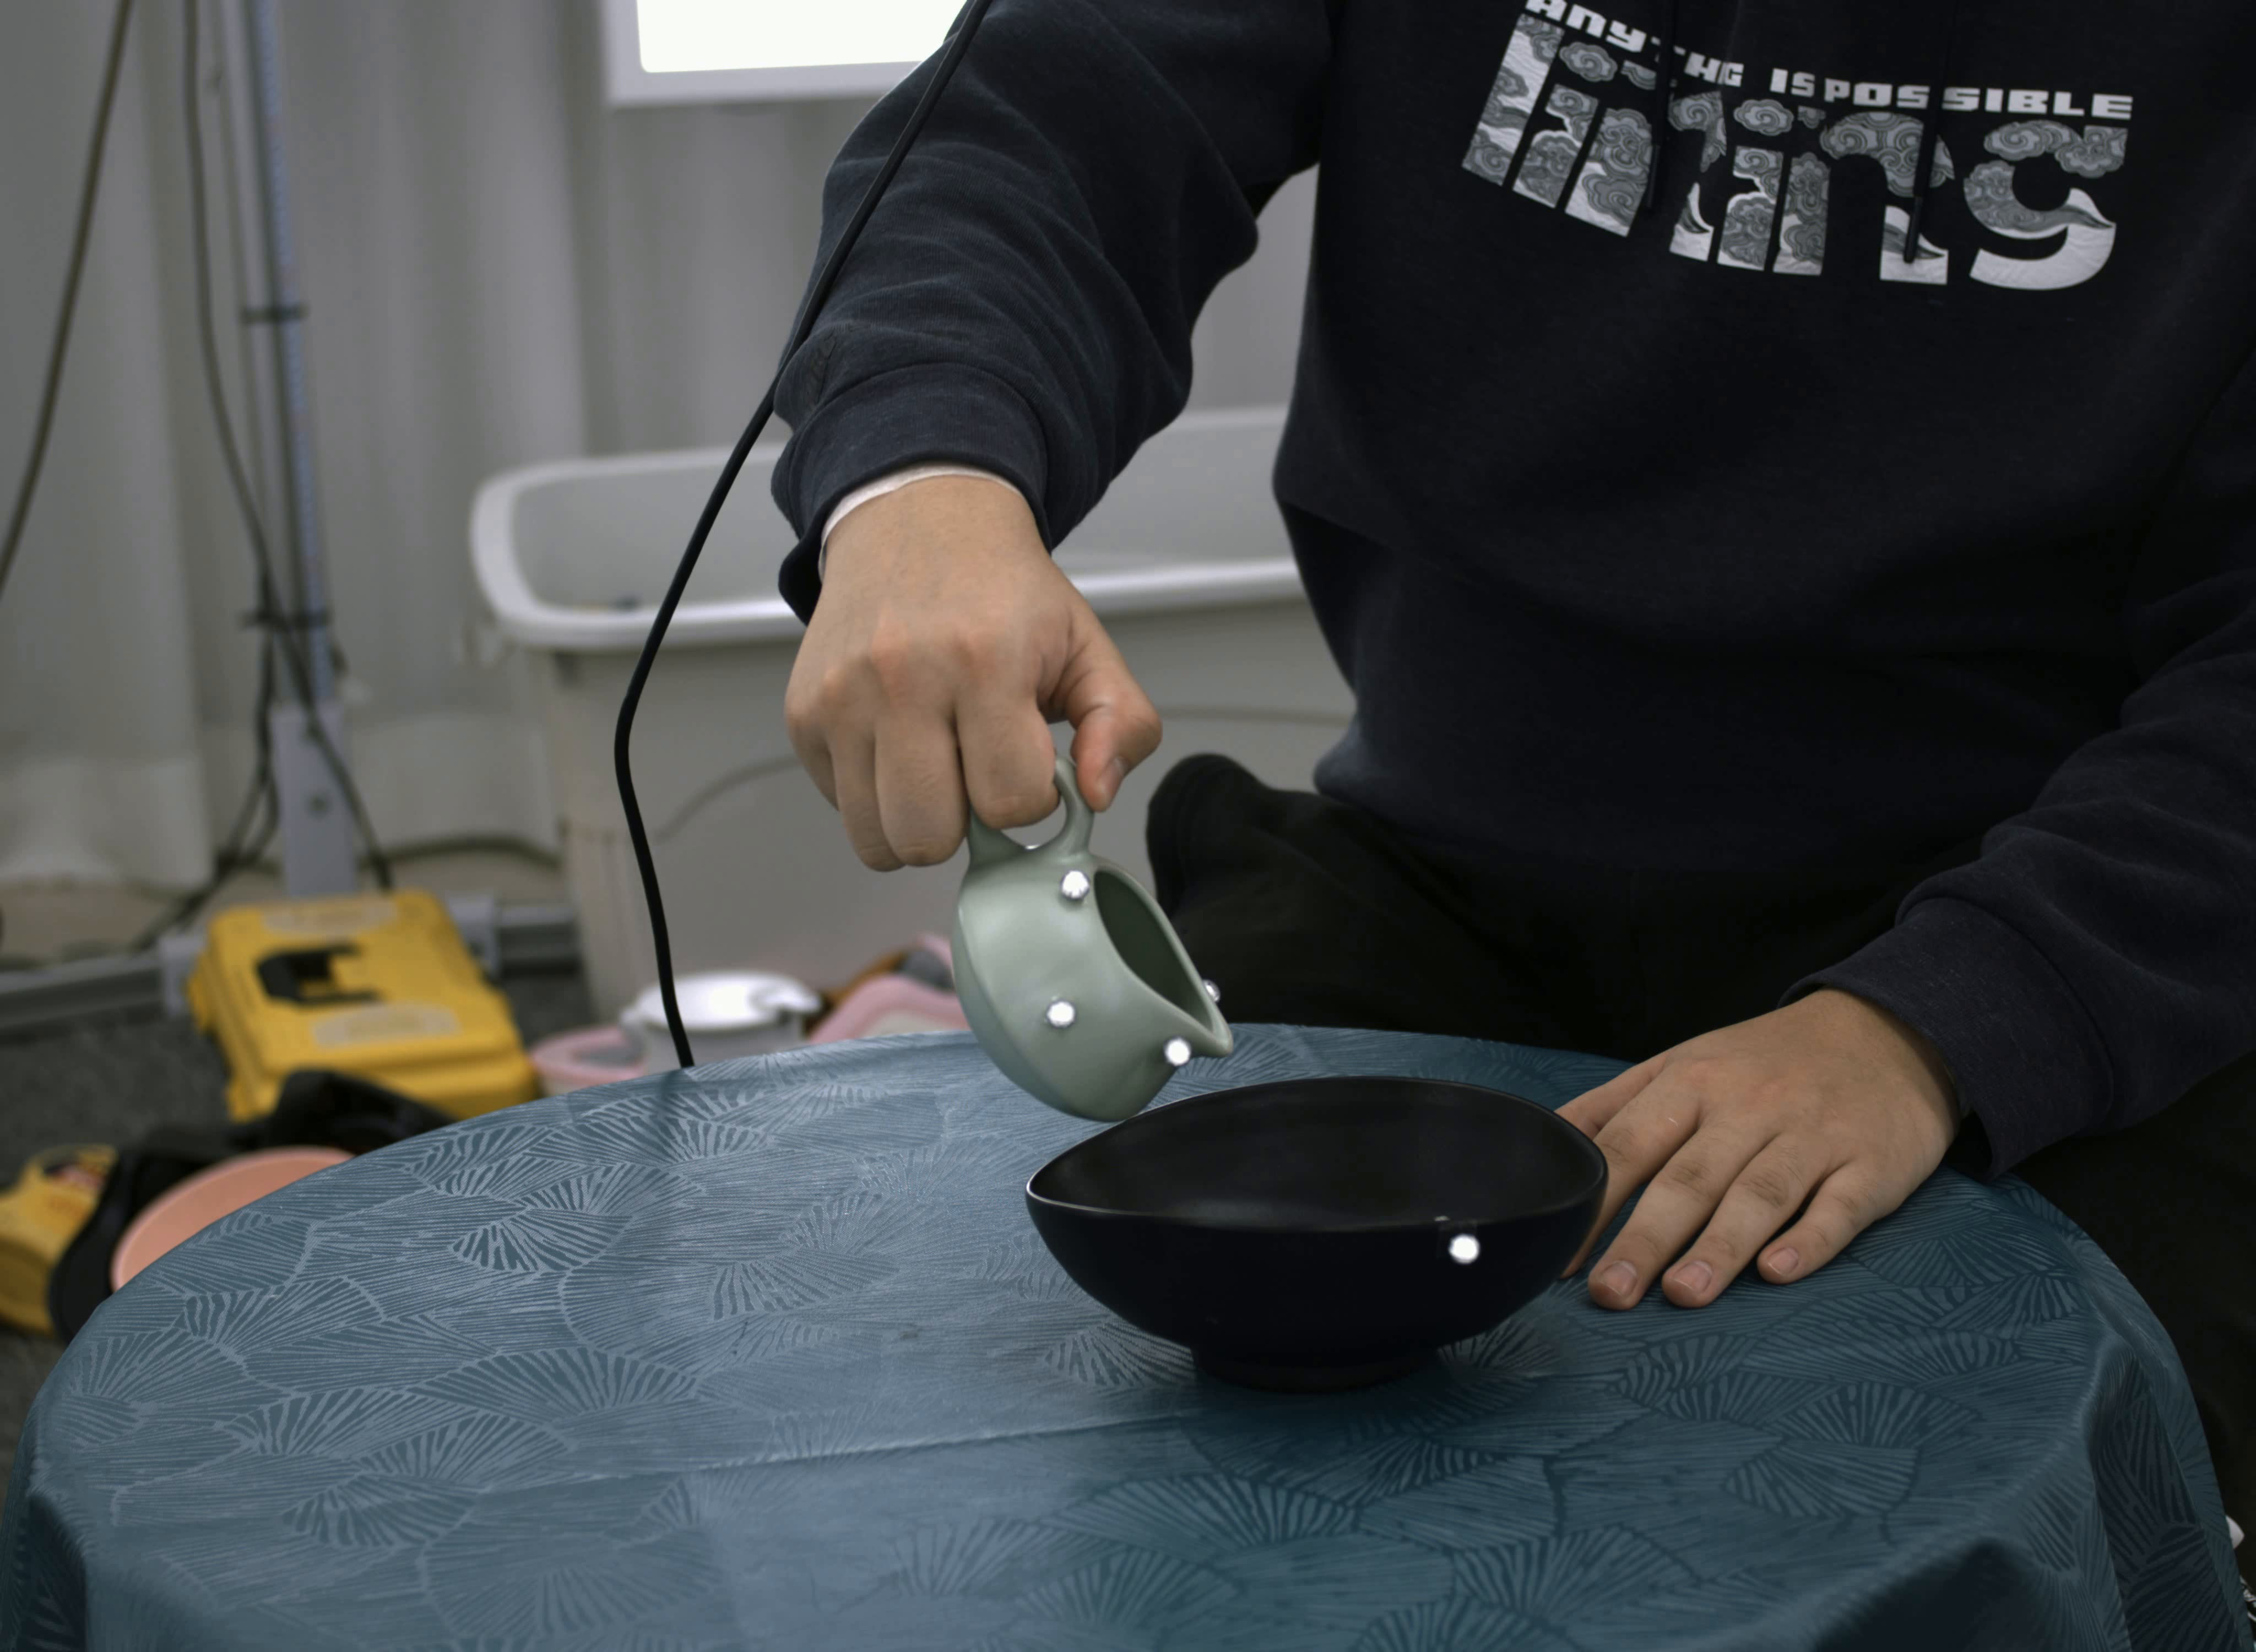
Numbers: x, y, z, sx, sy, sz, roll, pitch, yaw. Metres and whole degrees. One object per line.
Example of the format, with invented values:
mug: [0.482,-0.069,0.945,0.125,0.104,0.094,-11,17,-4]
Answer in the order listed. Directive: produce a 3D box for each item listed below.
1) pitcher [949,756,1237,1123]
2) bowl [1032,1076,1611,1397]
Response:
pitcher: [-0.020,0.033,1.557,0.060,0.108,0.086,-33,1,21]
bowl: [0.054,0.122,1.560,0.170,0.066,0.138,1,14,17]
